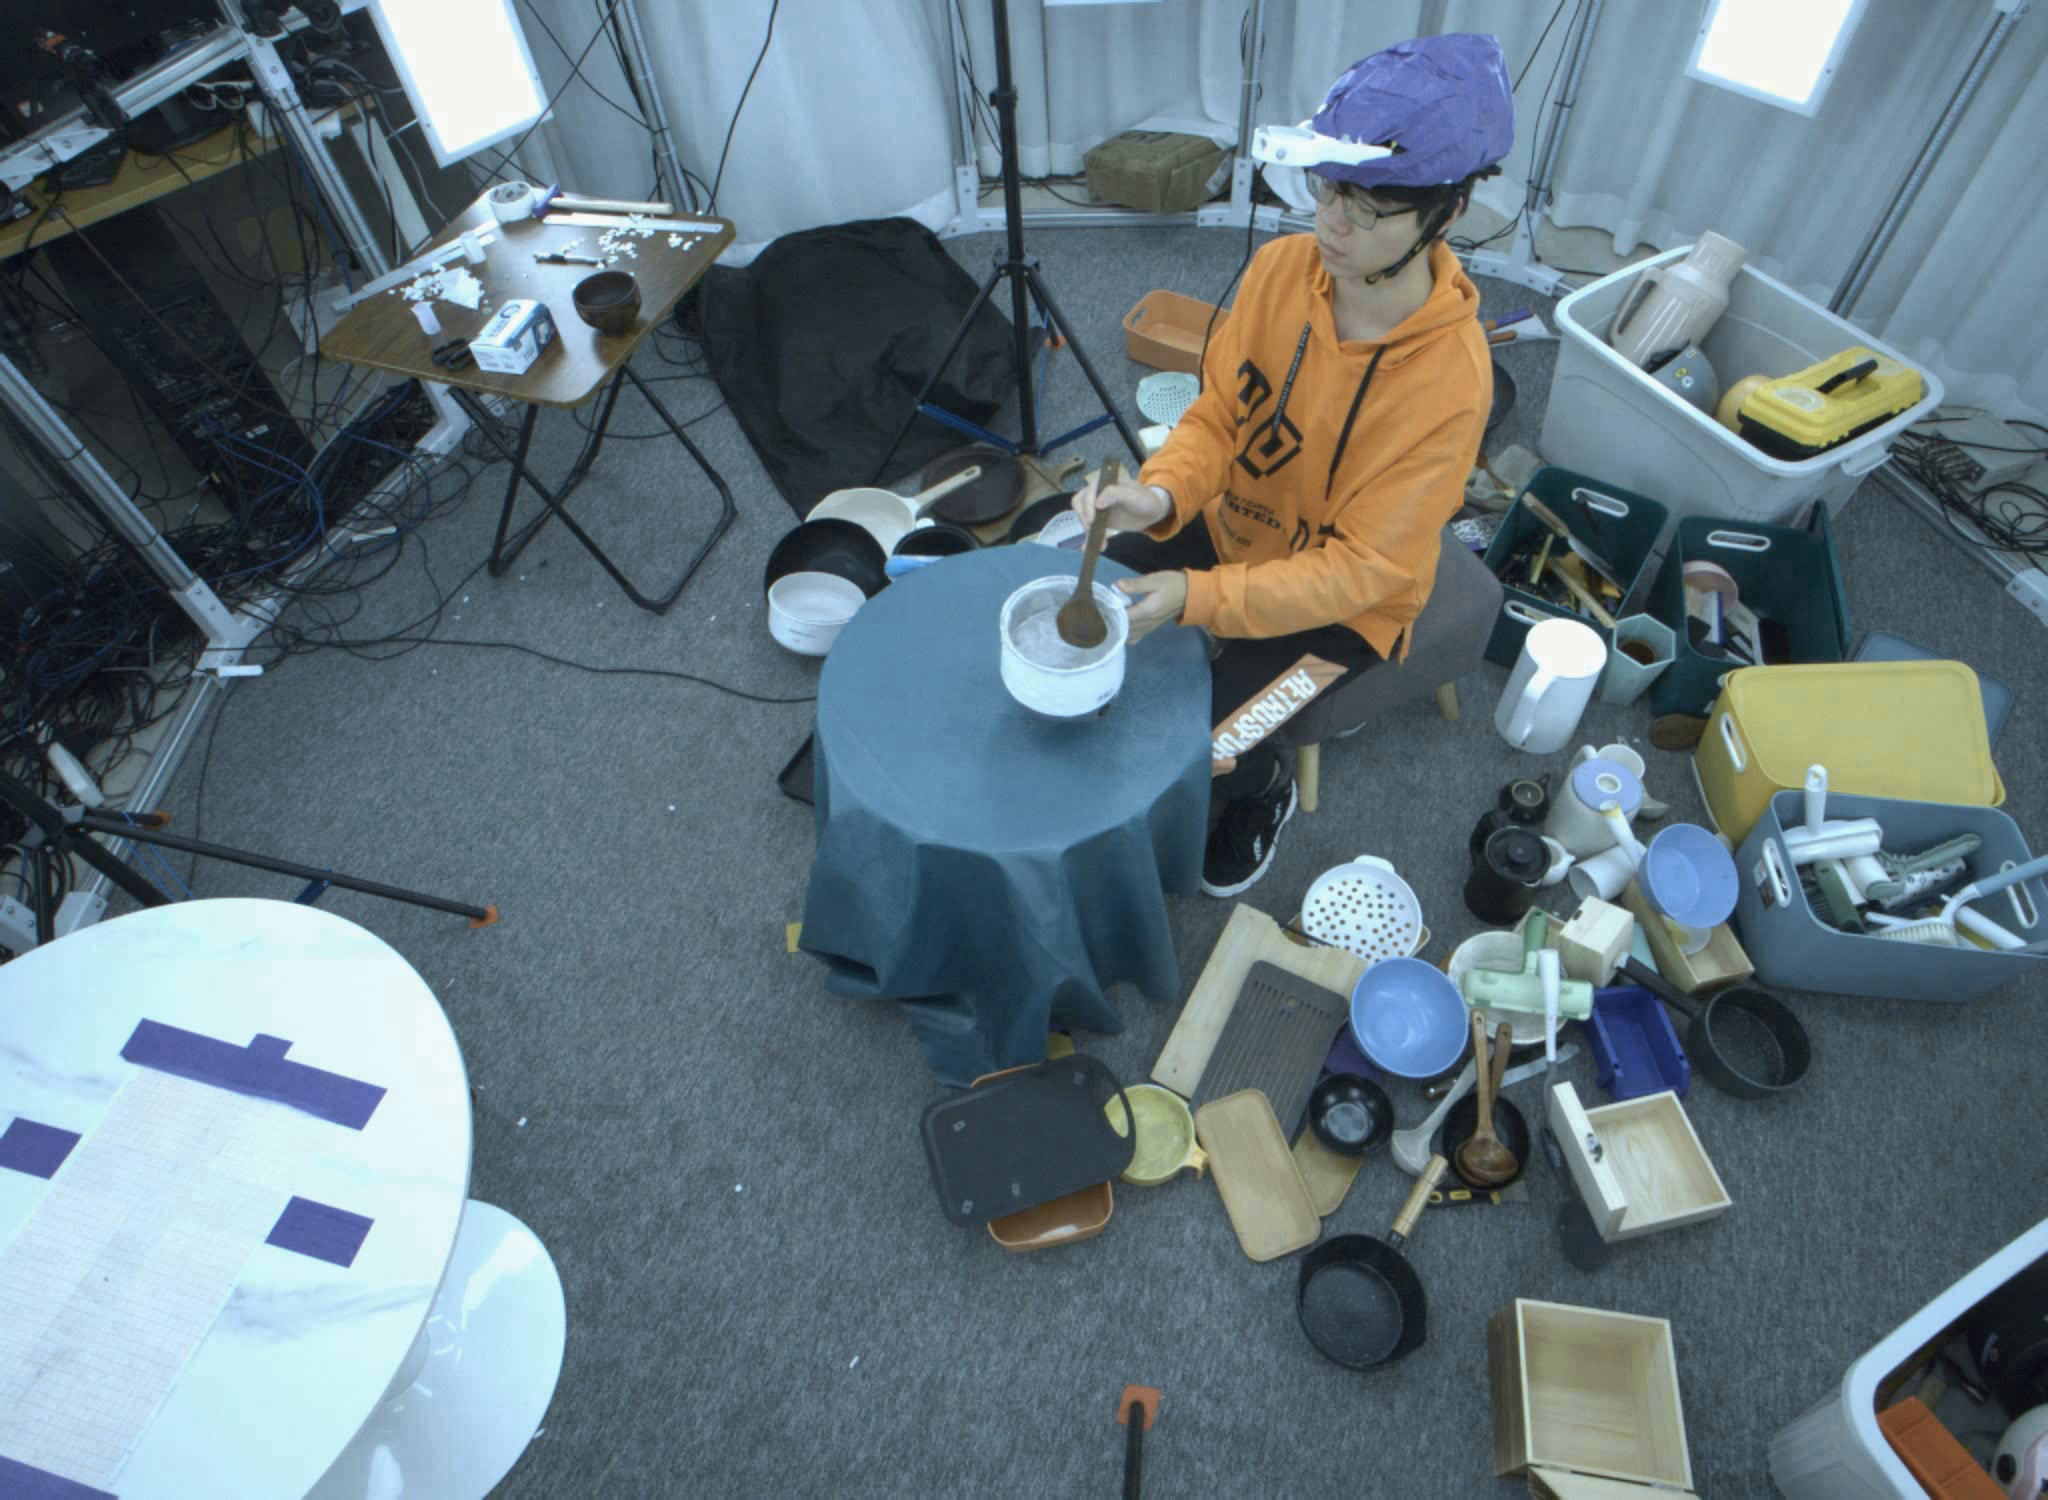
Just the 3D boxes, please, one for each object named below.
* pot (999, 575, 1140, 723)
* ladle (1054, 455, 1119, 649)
[{"bbox_3d":[0.074,-0.153,1.745,0.235,0.138,0.176,-38,64,-25],"label":"pot"},{"bbox_3d":[0.098,-0.272,1.666,0.077,0.070,0.274,11,93,-19],"label":"ladle"}]
